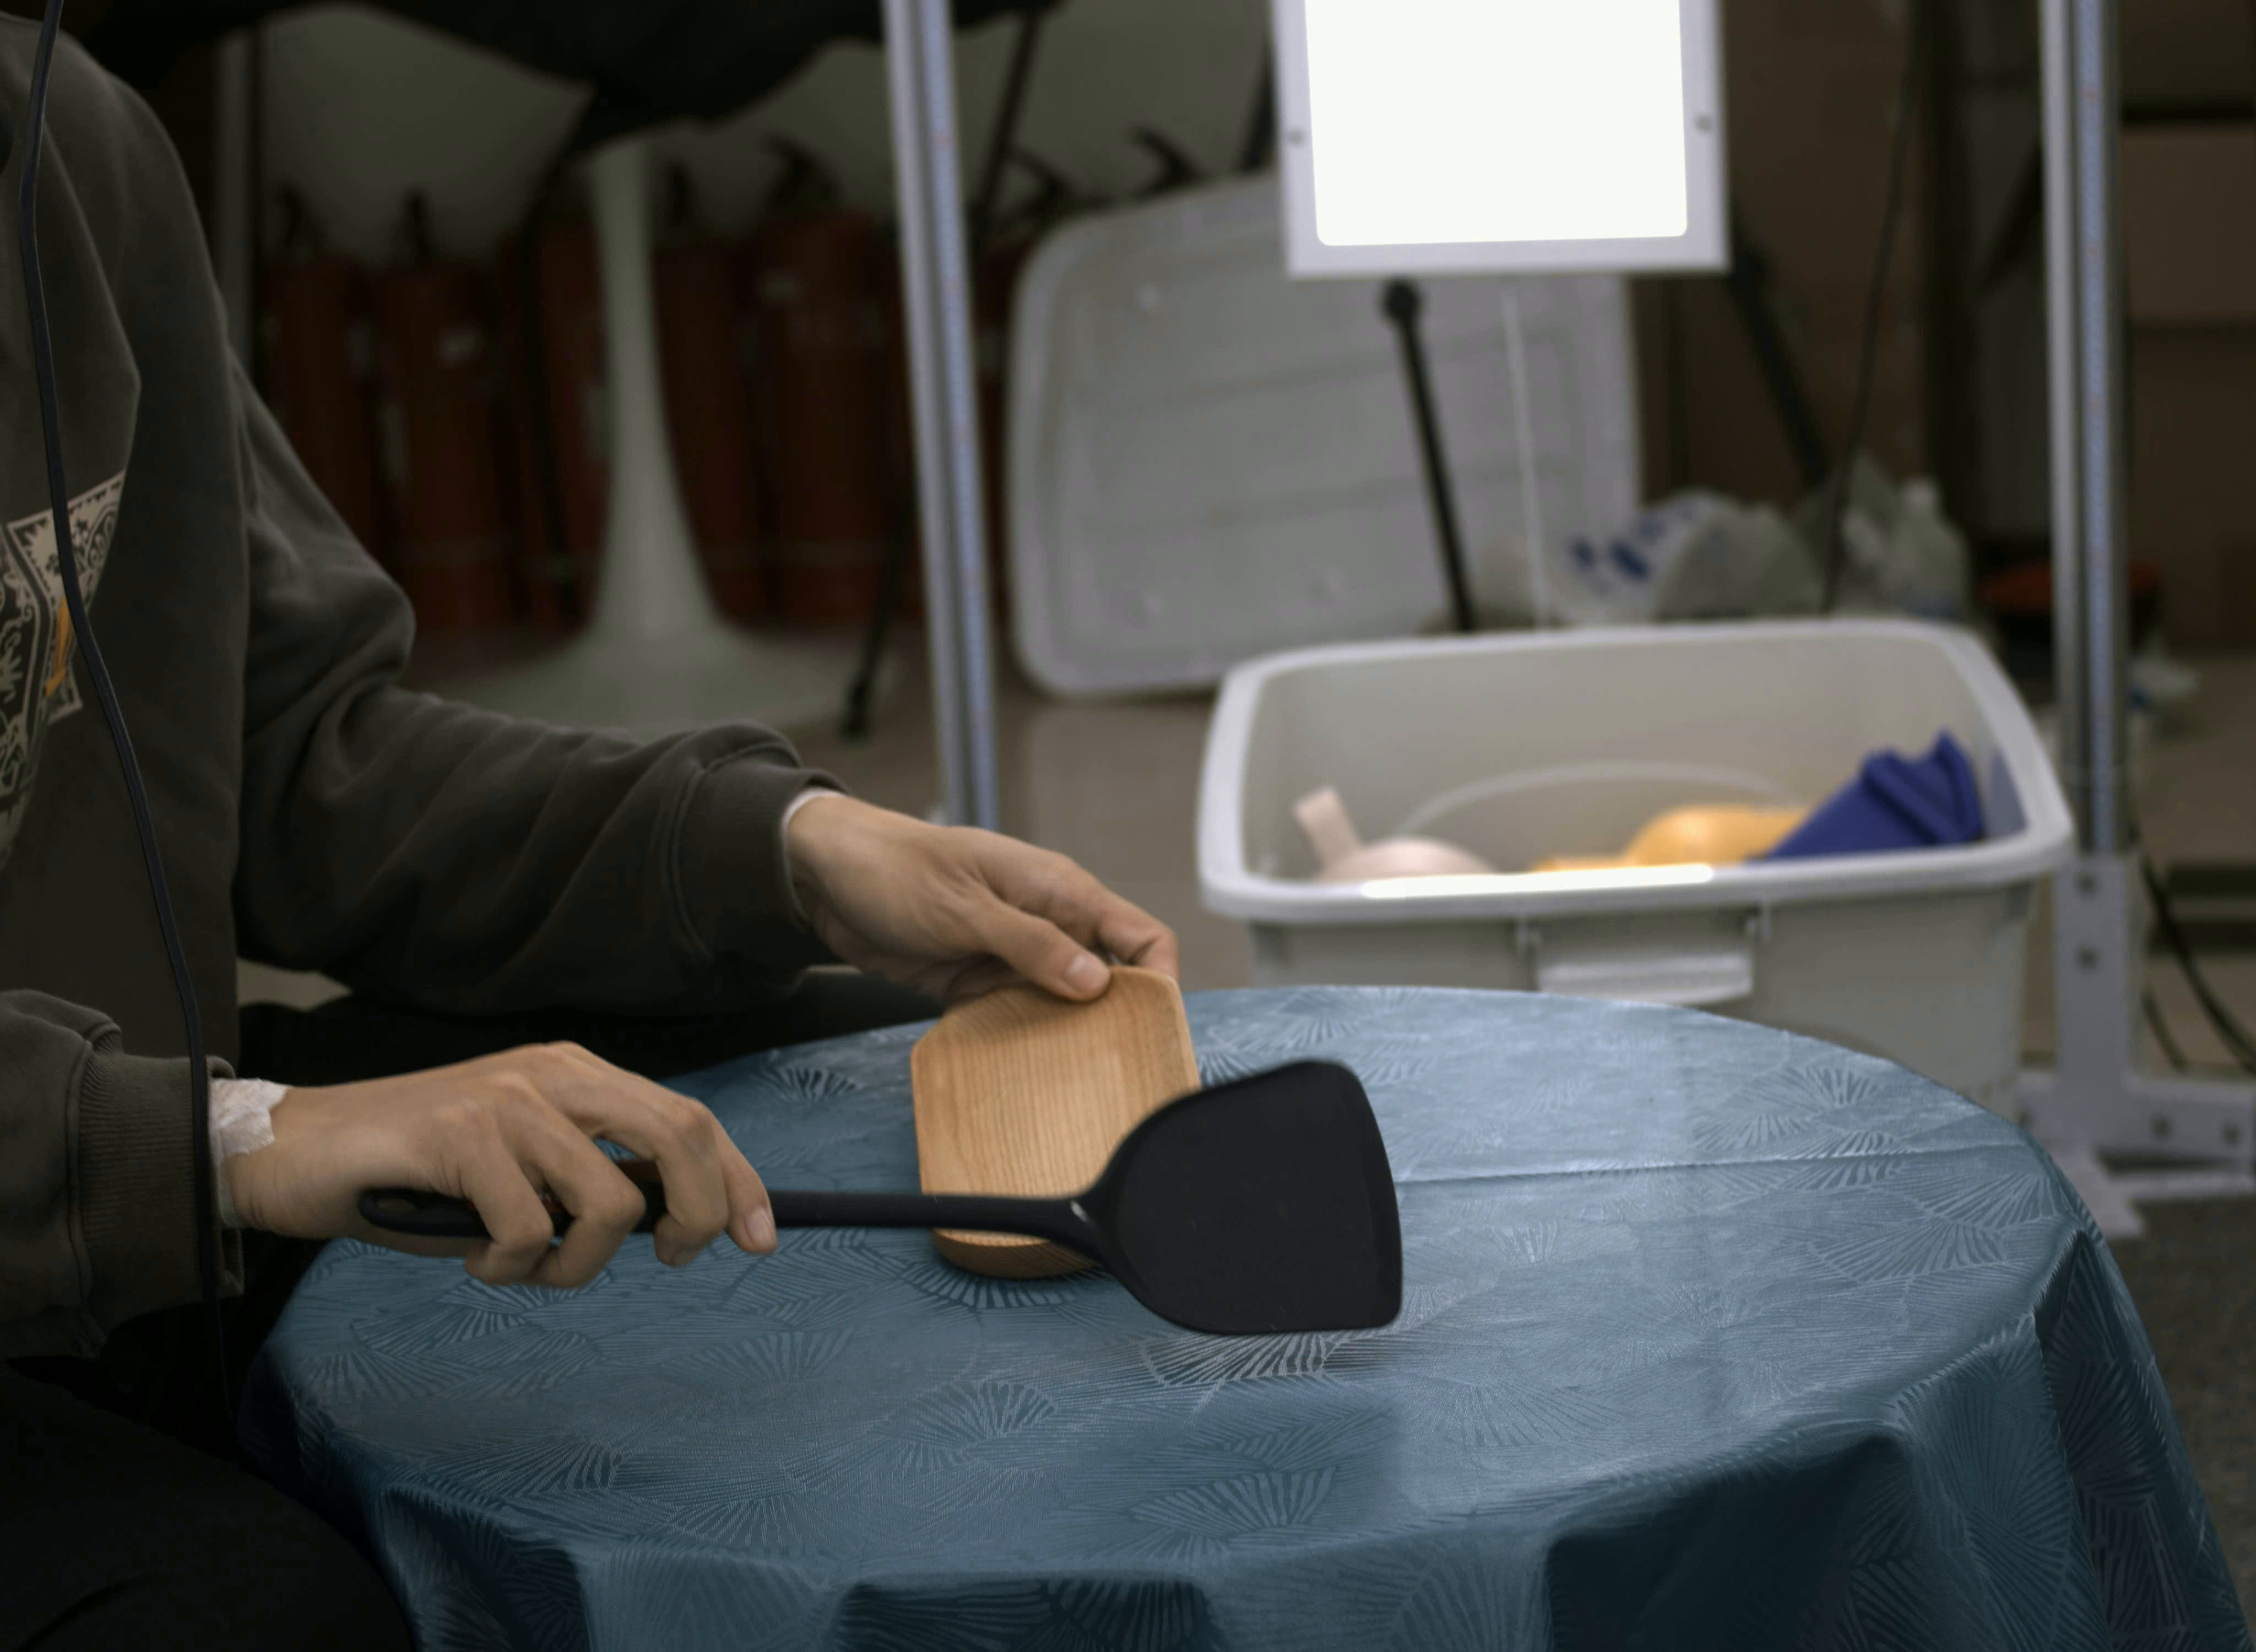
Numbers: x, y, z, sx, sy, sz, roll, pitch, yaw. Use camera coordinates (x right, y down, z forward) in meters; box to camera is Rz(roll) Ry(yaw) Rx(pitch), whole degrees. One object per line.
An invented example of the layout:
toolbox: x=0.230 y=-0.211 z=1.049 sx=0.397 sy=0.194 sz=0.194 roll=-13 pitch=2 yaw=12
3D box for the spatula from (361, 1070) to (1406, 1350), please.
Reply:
spatula: x=-0.073 y=0.118 z=1.694 sx=0.321 sy=0.041 sz=0.100 roll=4 pitch=51 yaw=-18

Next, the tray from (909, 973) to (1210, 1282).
tray: x=-0.023 y=0.102 z=1.908 sx=0.101 sy=0.020 sz=0.231 roll=-16 pitch=21 yaw=2
